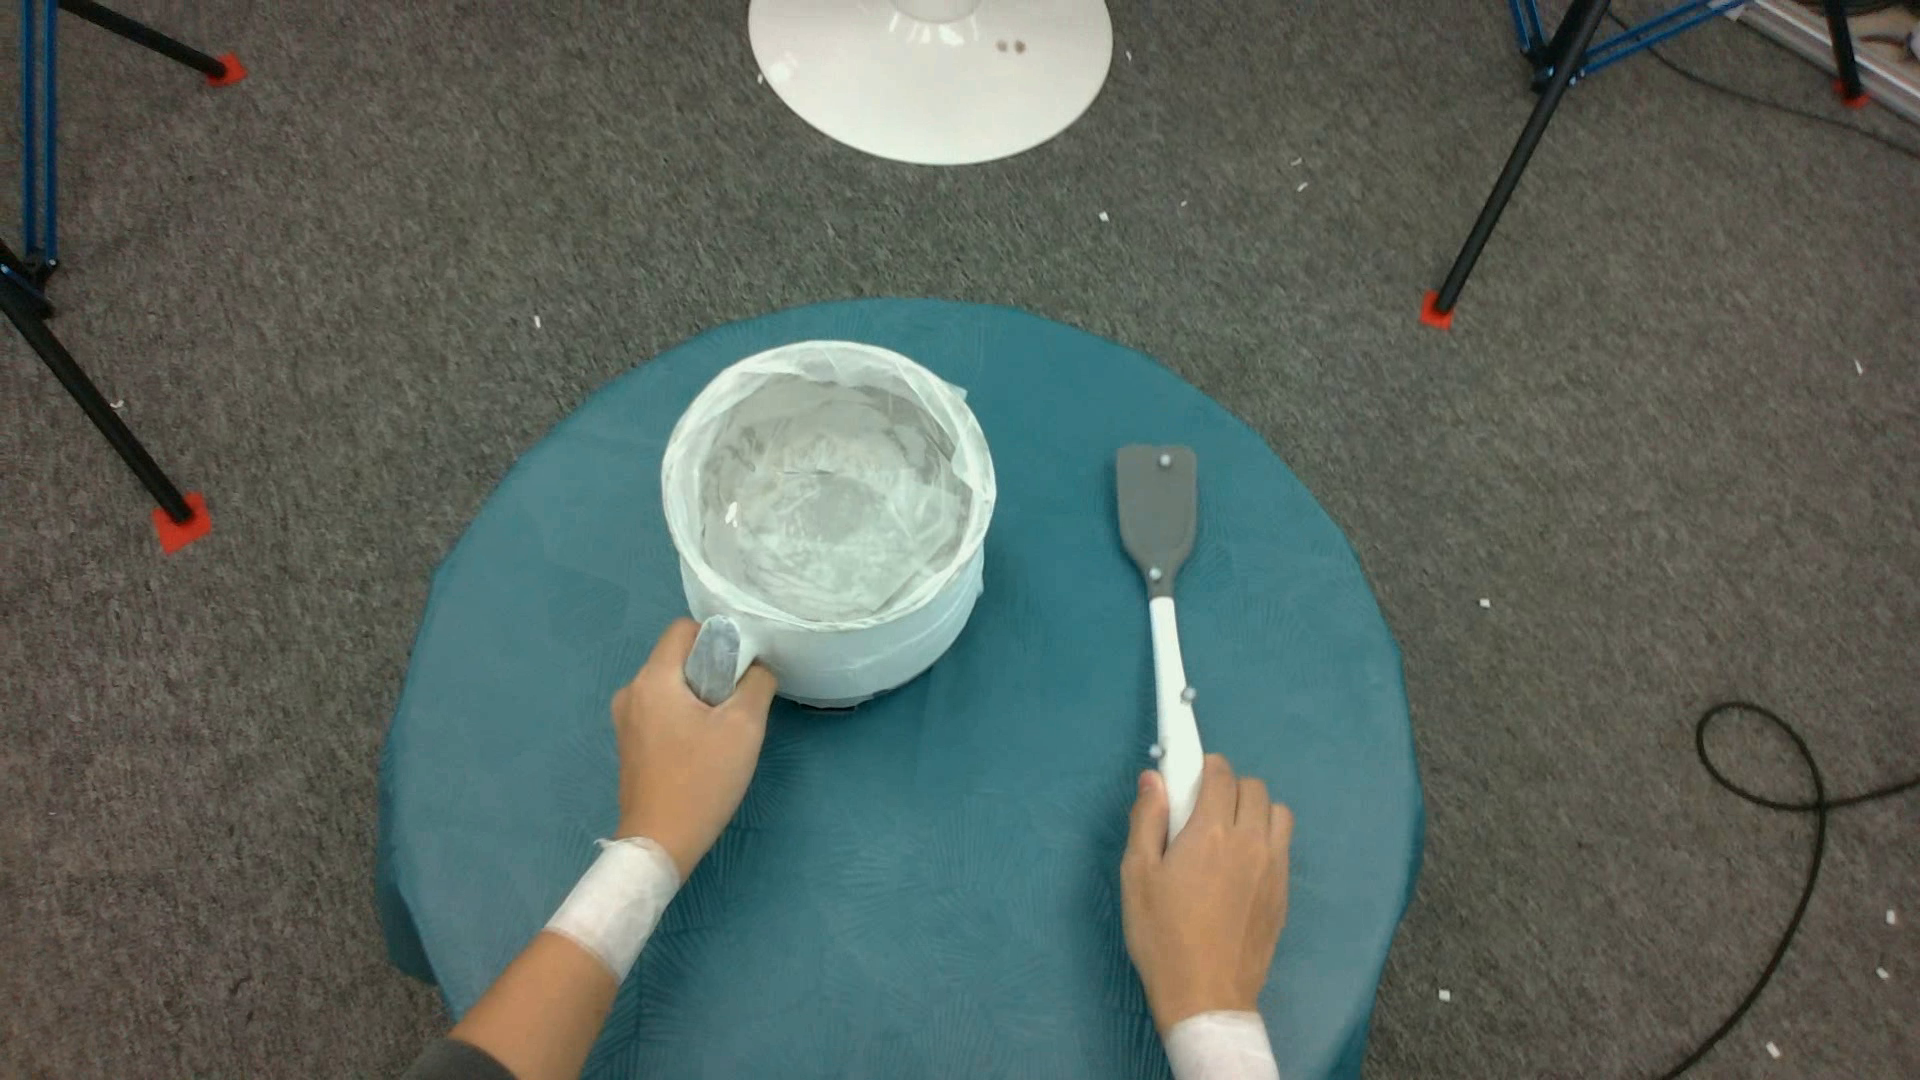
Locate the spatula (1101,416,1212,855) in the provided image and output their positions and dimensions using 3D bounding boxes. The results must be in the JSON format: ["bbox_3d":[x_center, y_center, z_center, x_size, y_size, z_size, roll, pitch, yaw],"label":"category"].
[{"bbox_3d":[0.119,0.045,0.823,0.058,0.032,0.289,-2,57,3],"label":"spatula"}]

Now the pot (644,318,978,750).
[{"bbox_3d":[-0.096,0.005,0.775,0.178,0.136,0.234,27,65,9],"label":"pot"}]
